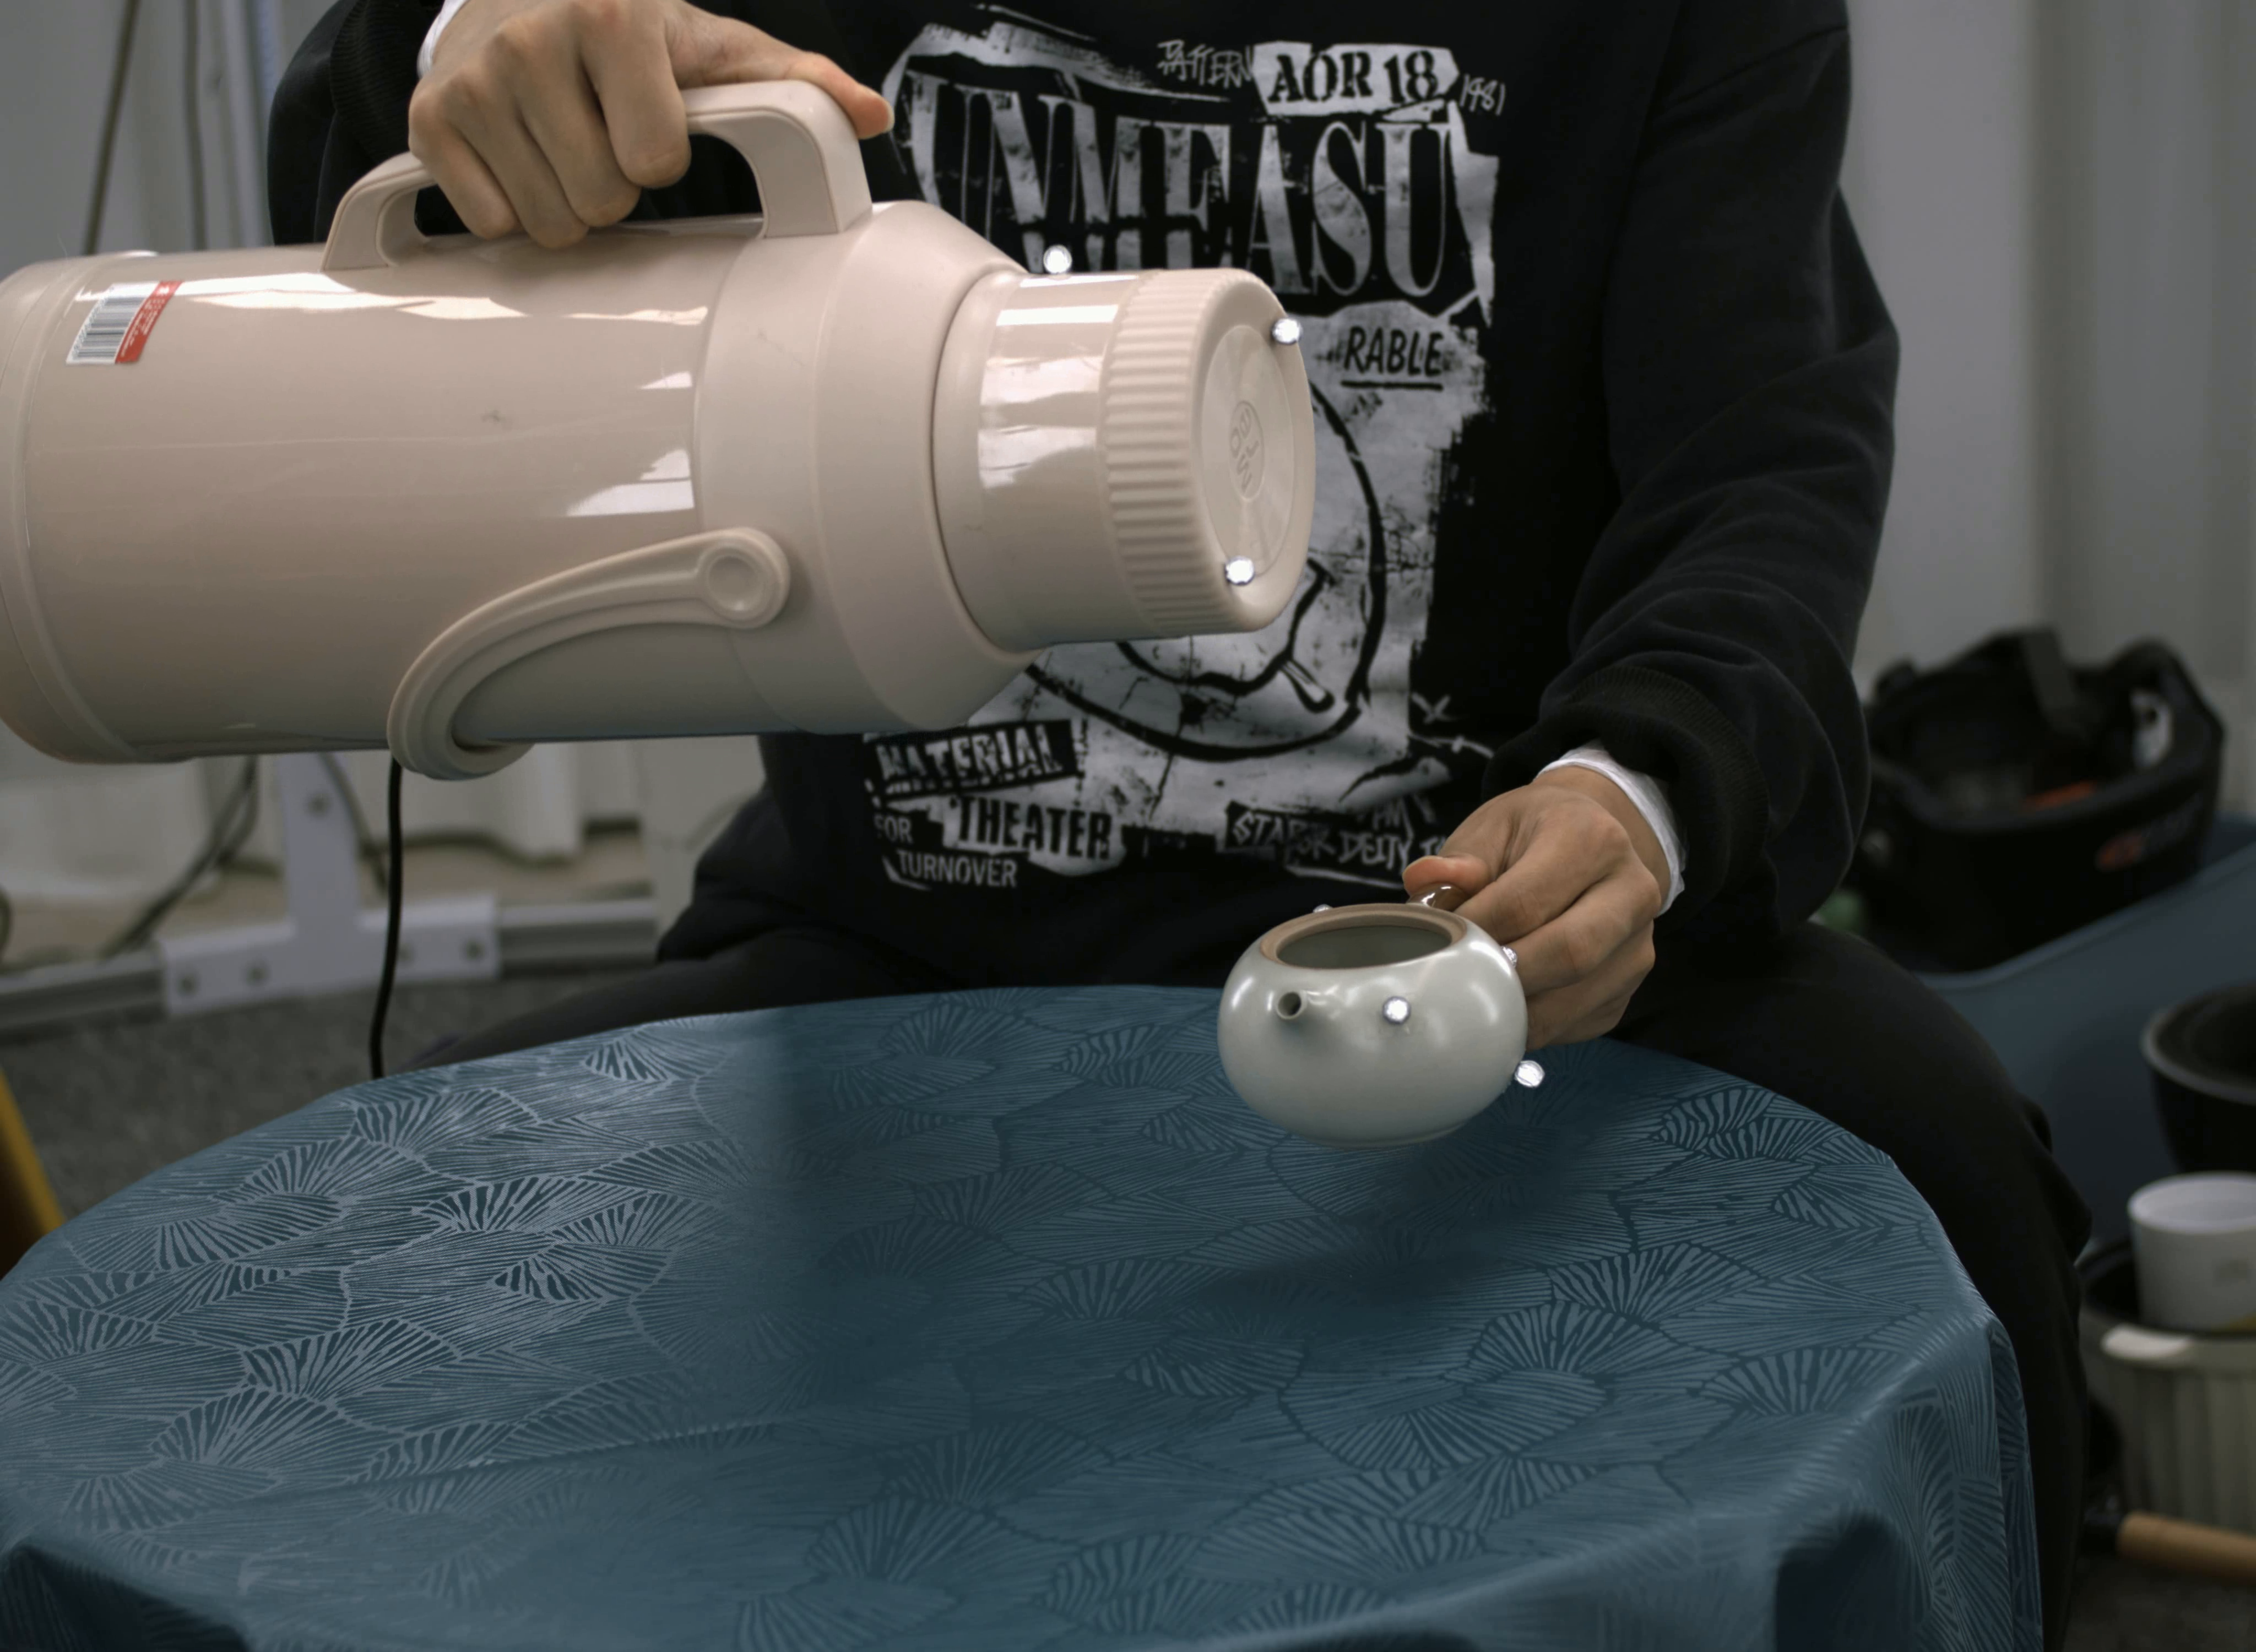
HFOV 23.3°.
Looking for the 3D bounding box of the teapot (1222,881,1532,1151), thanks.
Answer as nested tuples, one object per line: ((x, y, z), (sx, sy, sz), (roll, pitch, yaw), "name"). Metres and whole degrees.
((0.077, 0.056, 1.615), (0.092, 0.059, 0.128), (-2, 17, 27), "teapot")

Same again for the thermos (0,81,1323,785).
((-0.149, -0.116, 1.644), (0.406, 0.205, 0.176), (-1, 24, 25), "thermos")
